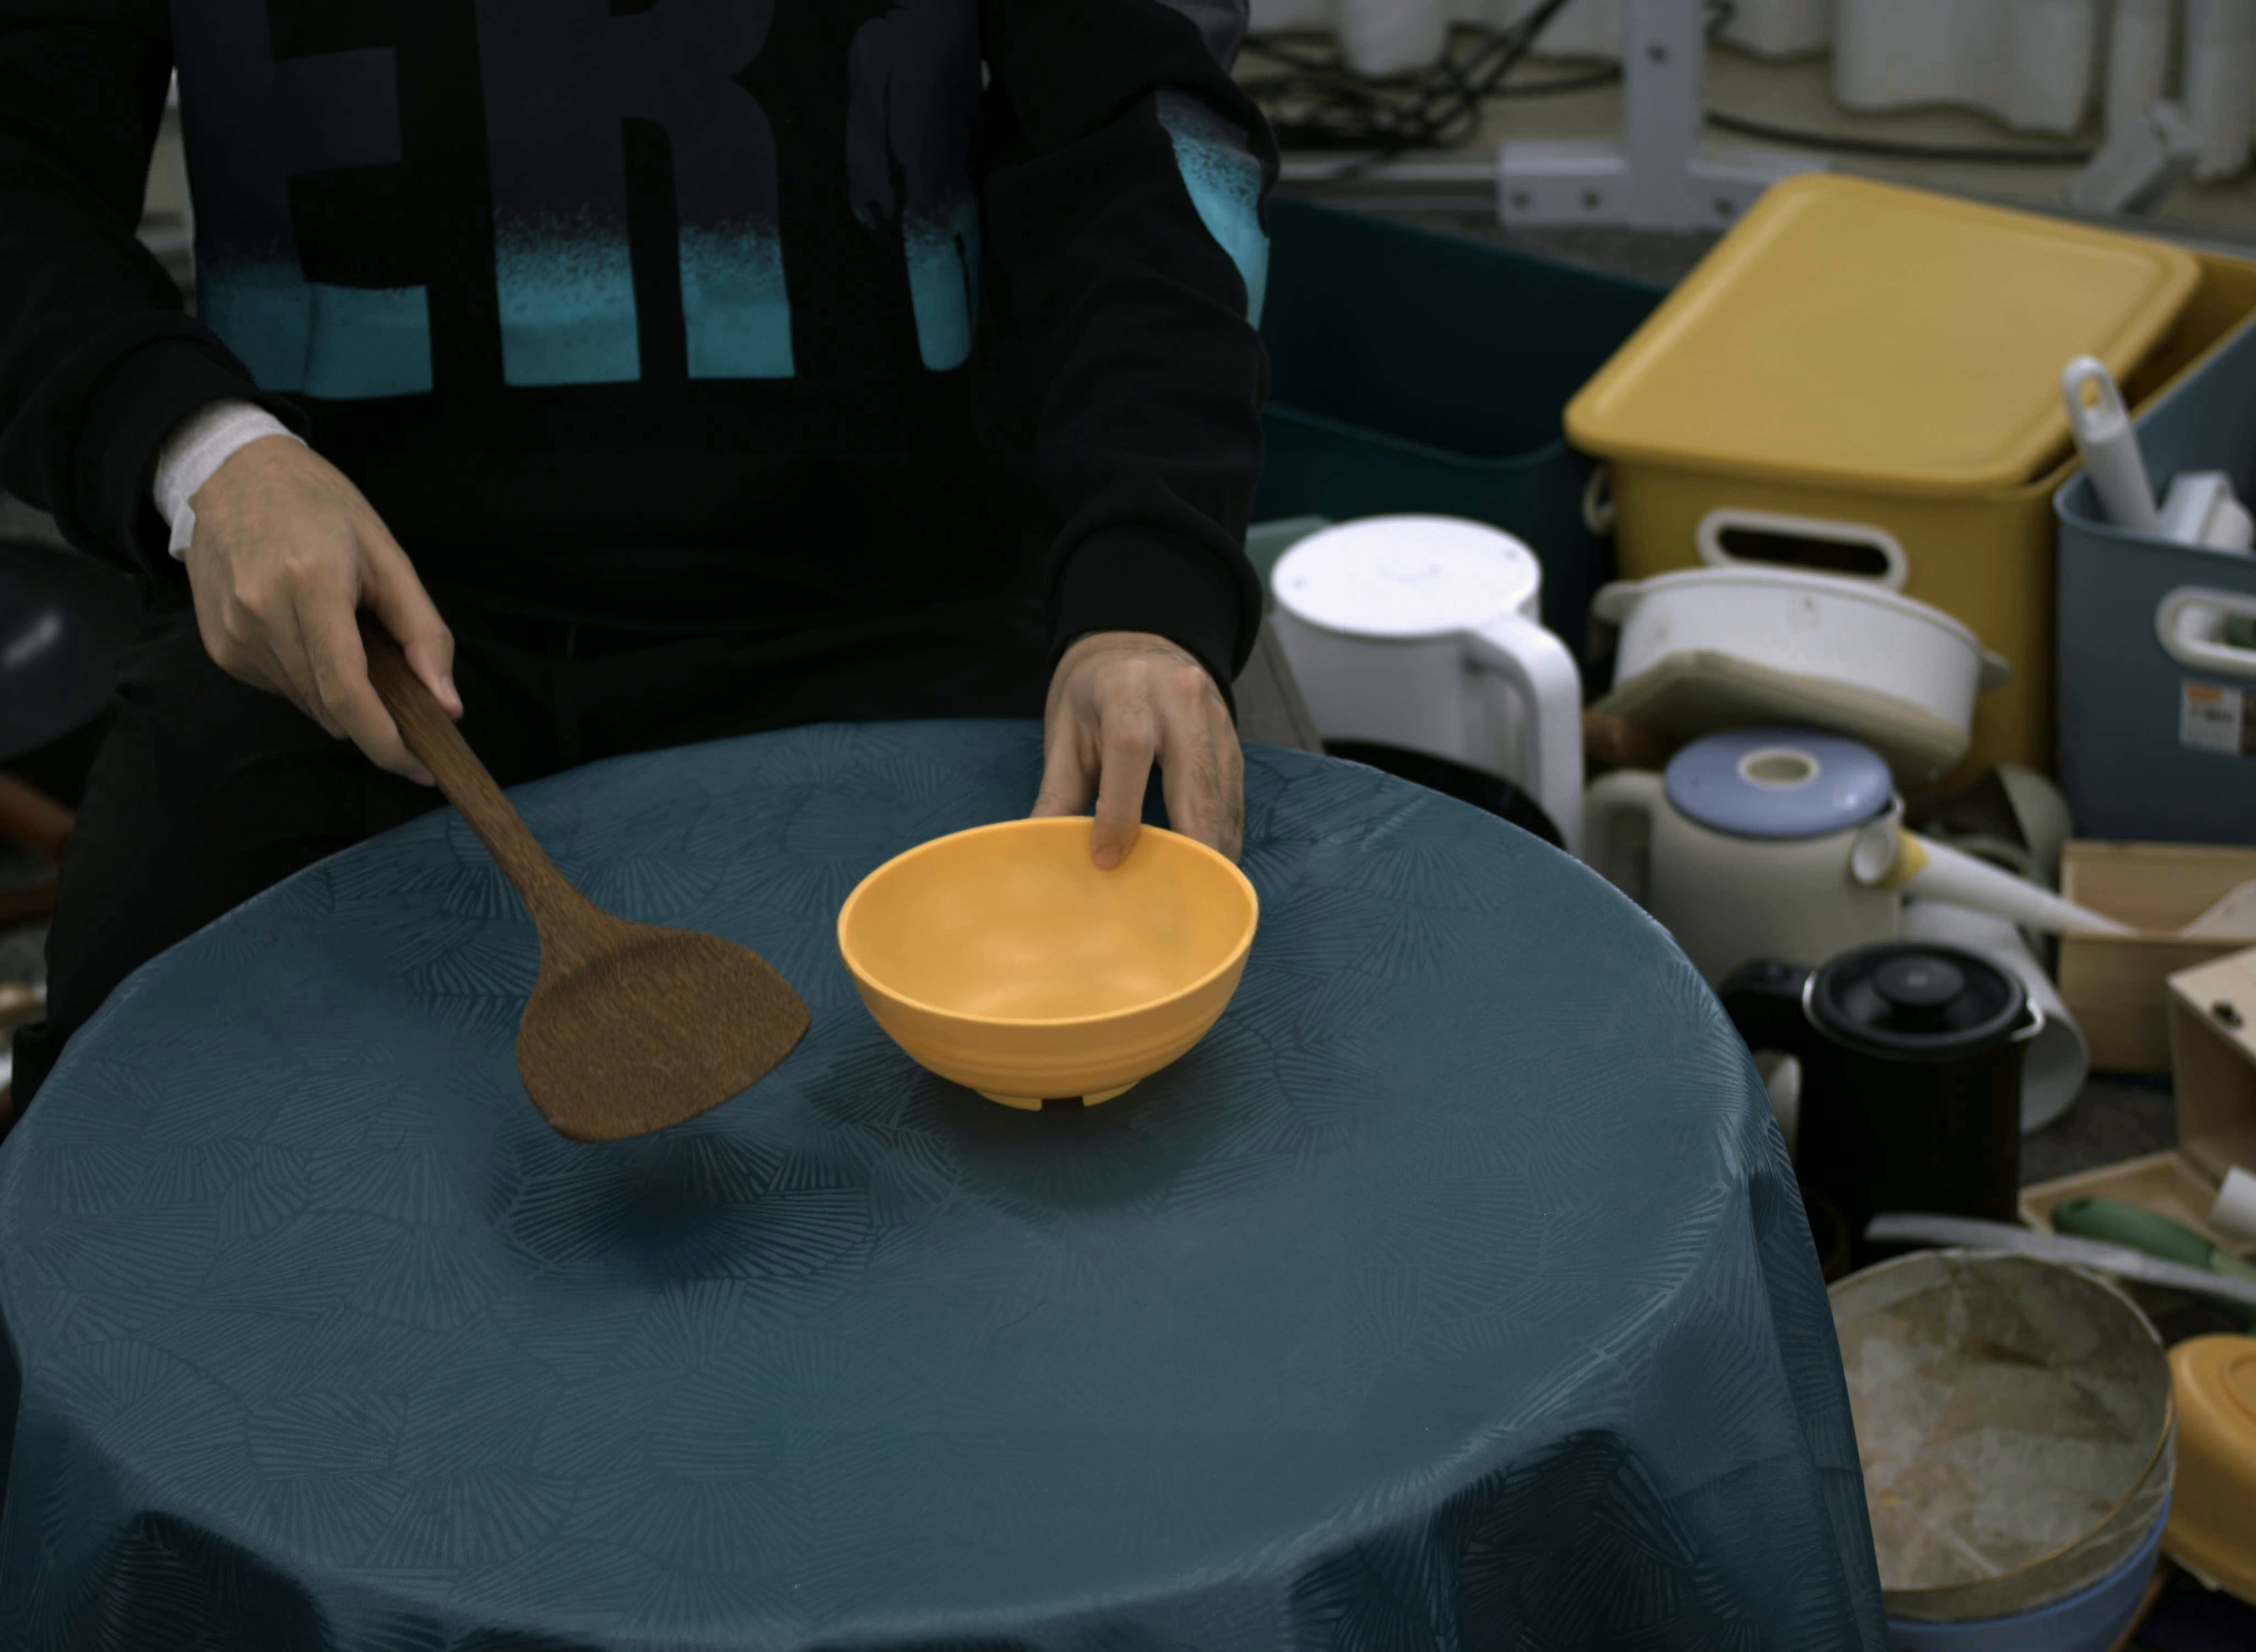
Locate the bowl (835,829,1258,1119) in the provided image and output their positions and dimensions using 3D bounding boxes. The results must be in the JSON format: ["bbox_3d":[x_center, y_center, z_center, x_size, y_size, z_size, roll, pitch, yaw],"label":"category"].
[{"bbox_3d":[-0.028,0.059,1.926,0.144,0.059,0.147,0,26,0],"label":"bowl"}]

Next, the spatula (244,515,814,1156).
[{"bbox_3d":[-0.228,-0.009,1.960,0.096,0.015,0.389,-26,45,-16],"label":"spatula"}]
